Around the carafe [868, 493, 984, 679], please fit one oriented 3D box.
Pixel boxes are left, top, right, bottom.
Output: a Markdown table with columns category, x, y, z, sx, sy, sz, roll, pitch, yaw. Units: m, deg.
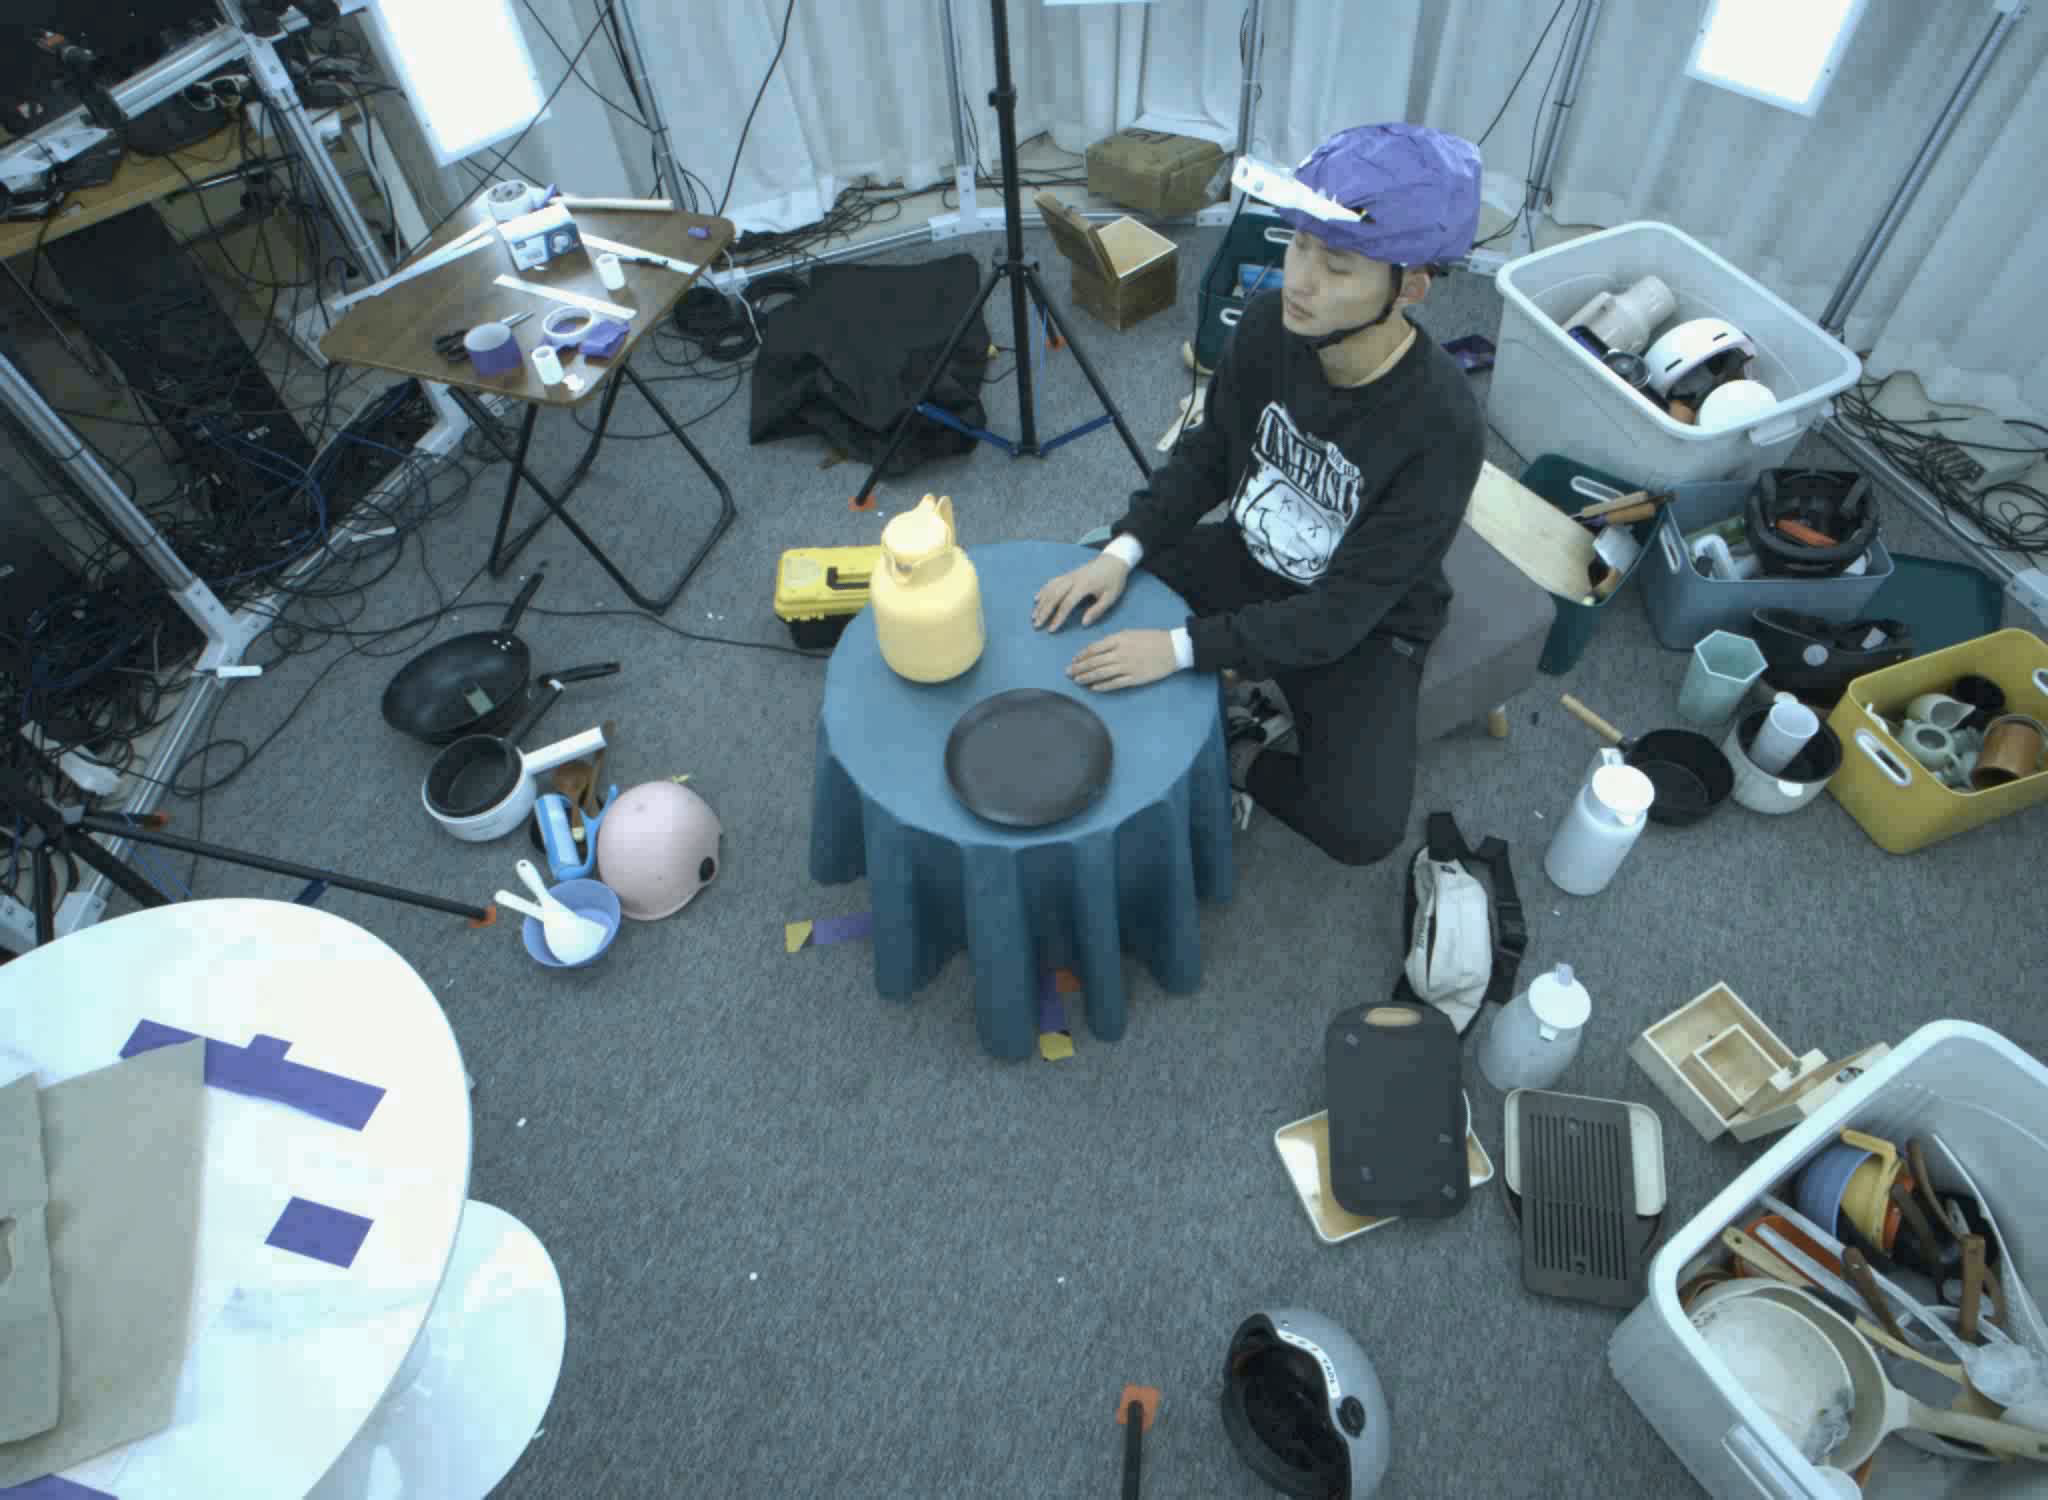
| category | x | y | z | sx | sy | sz | roll | pitch | yaw |
| --- | --- | --- | --- | --- | --- | --- | --- | --- | --- |
| carafe | -0.140 | -0.248 | 1.801 | 0.162 | 0.263 | 0.202 | 13 | 58 | 10 |

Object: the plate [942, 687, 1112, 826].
| category | x | y | z | sx | sy | sz | roll | pitch | yaw |
| --- | --- | --- | --- | --- | --- | --- | --- | --- | --- |
| plate | 0.005 | 0.010 | 1.761 | 0.244 | 0.023 | 0.242 | 0 | 55 | 2 |
